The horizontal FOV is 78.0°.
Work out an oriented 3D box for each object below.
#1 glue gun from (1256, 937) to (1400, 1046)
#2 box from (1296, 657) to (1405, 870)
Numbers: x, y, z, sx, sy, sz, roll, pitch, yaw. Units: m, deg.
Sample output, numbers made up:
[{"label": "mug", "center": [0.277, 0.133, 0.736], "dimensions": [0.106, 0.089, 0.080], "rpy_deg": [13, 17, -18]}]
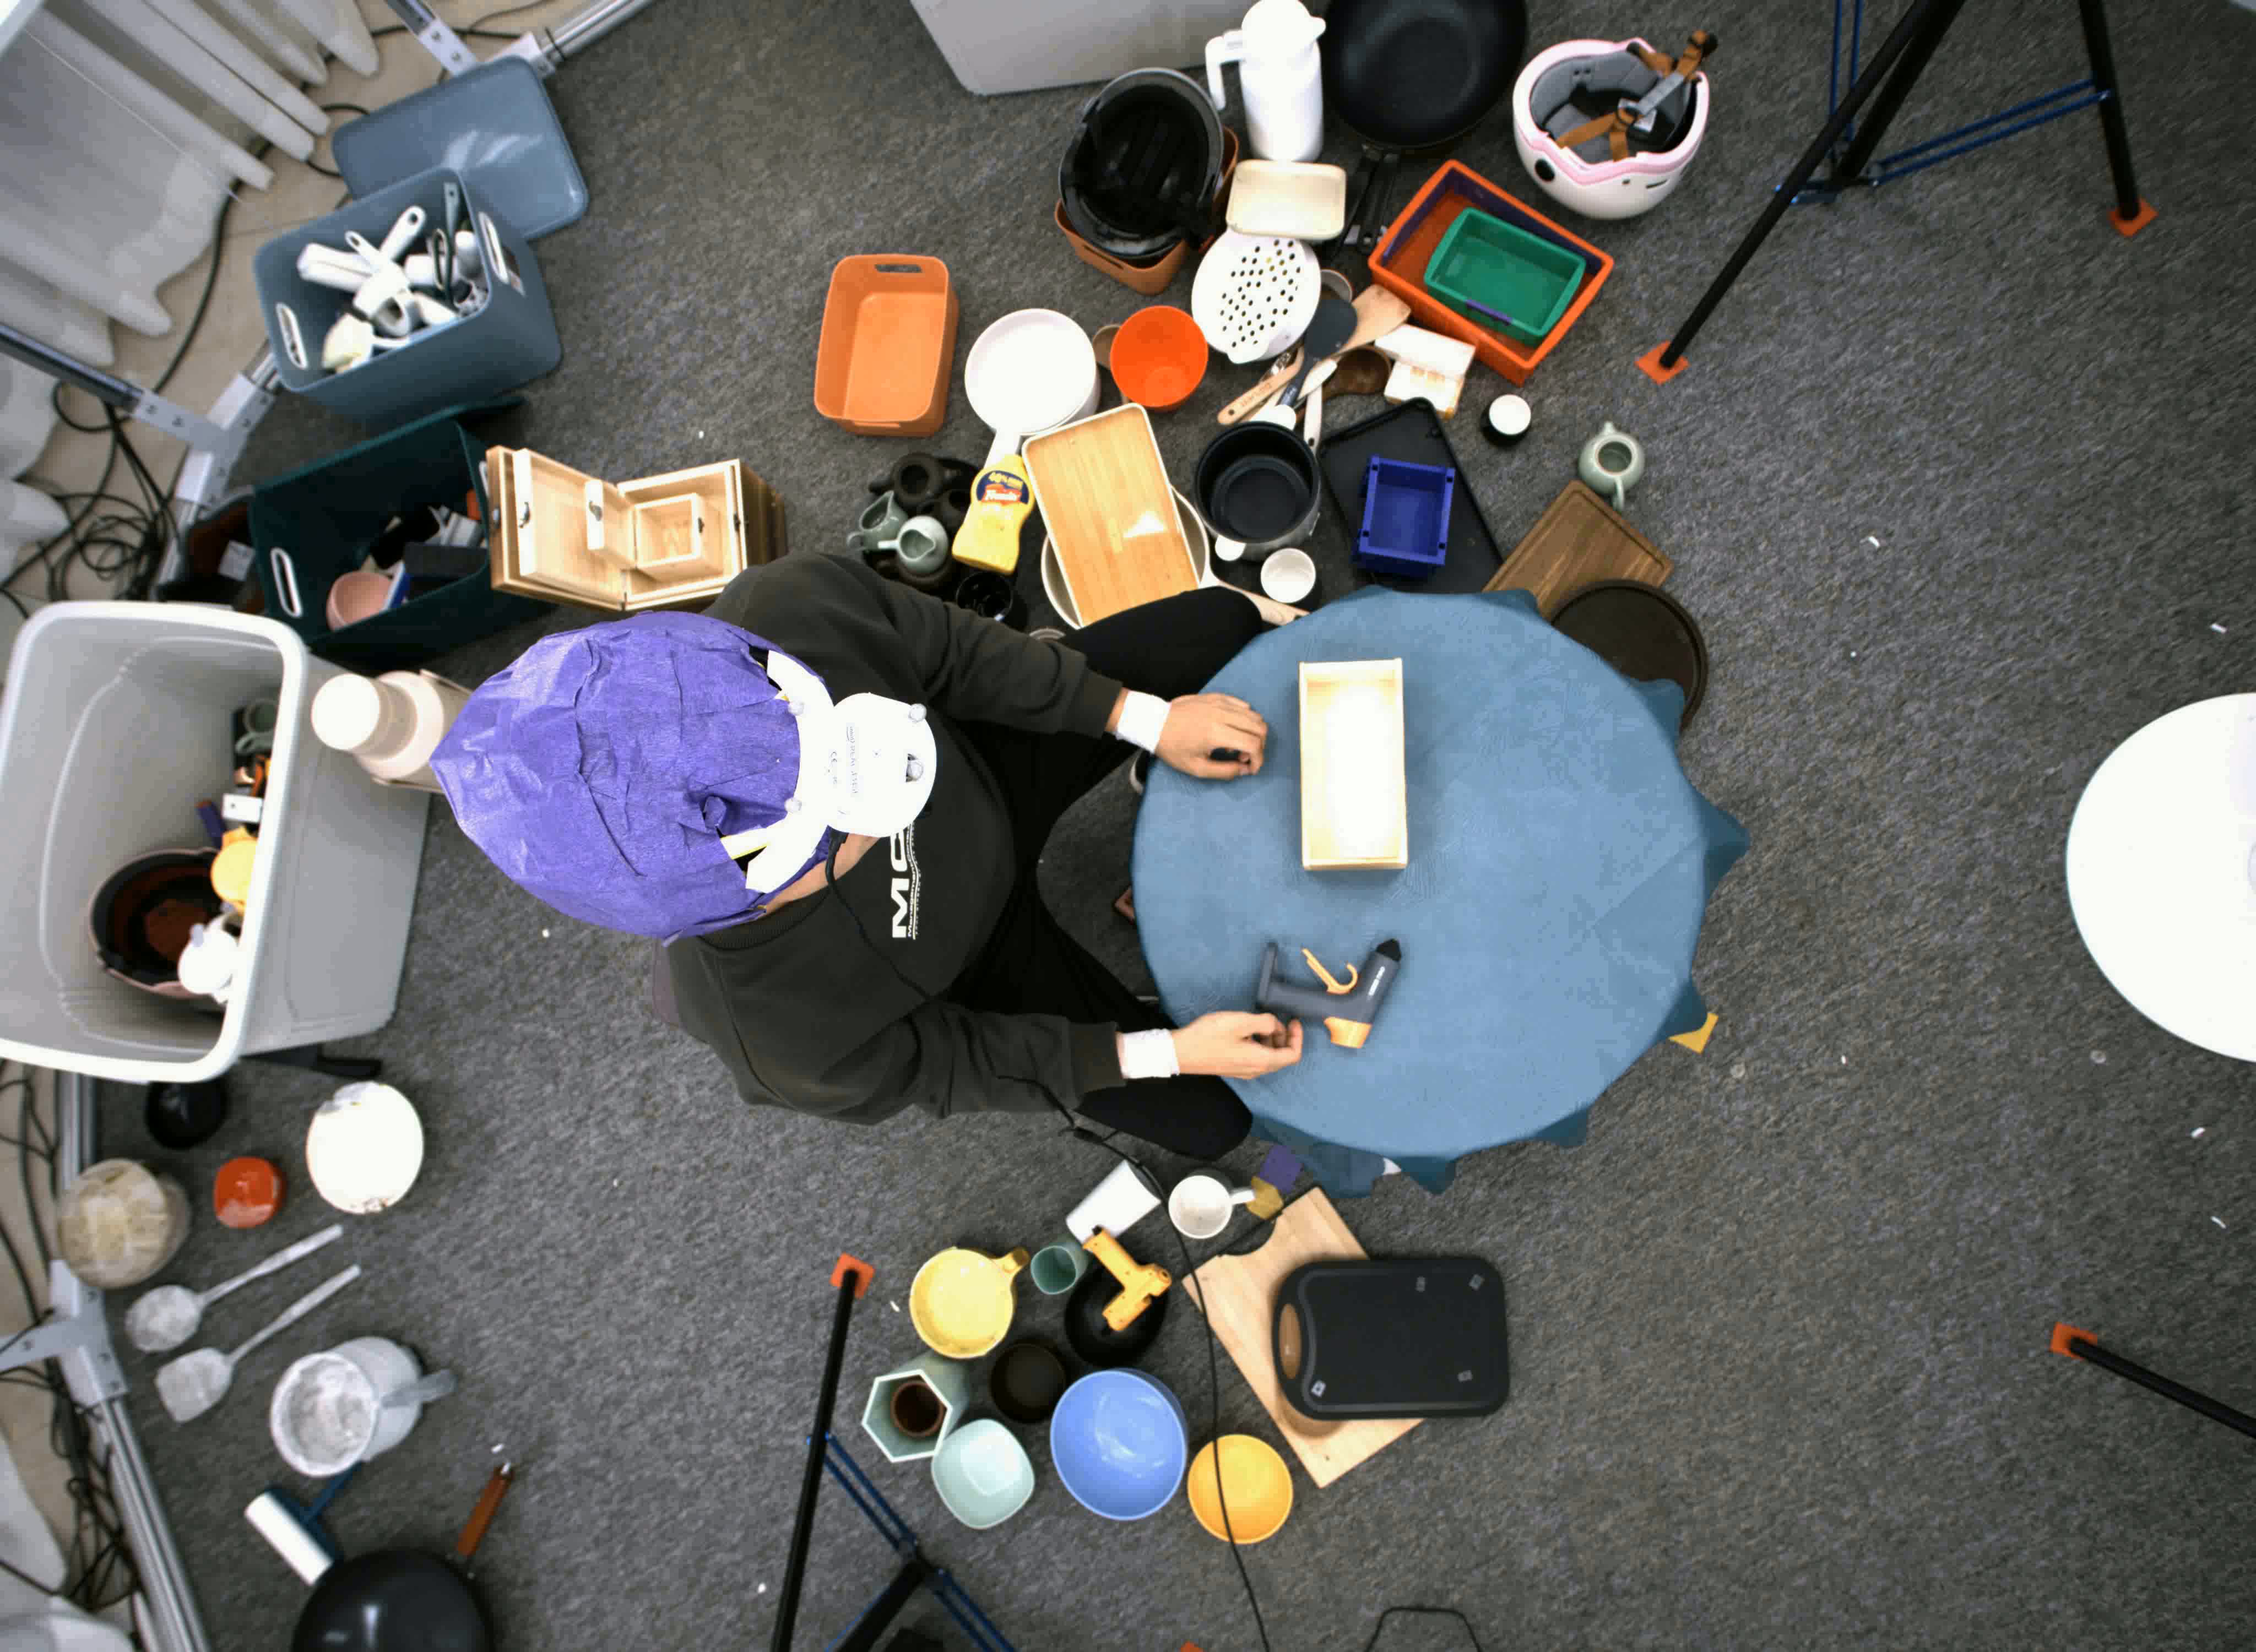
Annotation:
[{"label": "glue gun", "center": [0.209, 0.163, 1.449], "dimensions": [0.140, 0.041, 0.117], "rpy_deg": [9, 86, 9]}, {"label": "box", "center": [0.232, -0.063, 1.434], "dimensions": [0.108, 0.080, 0.210], "rpy_deg": [-1, 86, 11]}]
